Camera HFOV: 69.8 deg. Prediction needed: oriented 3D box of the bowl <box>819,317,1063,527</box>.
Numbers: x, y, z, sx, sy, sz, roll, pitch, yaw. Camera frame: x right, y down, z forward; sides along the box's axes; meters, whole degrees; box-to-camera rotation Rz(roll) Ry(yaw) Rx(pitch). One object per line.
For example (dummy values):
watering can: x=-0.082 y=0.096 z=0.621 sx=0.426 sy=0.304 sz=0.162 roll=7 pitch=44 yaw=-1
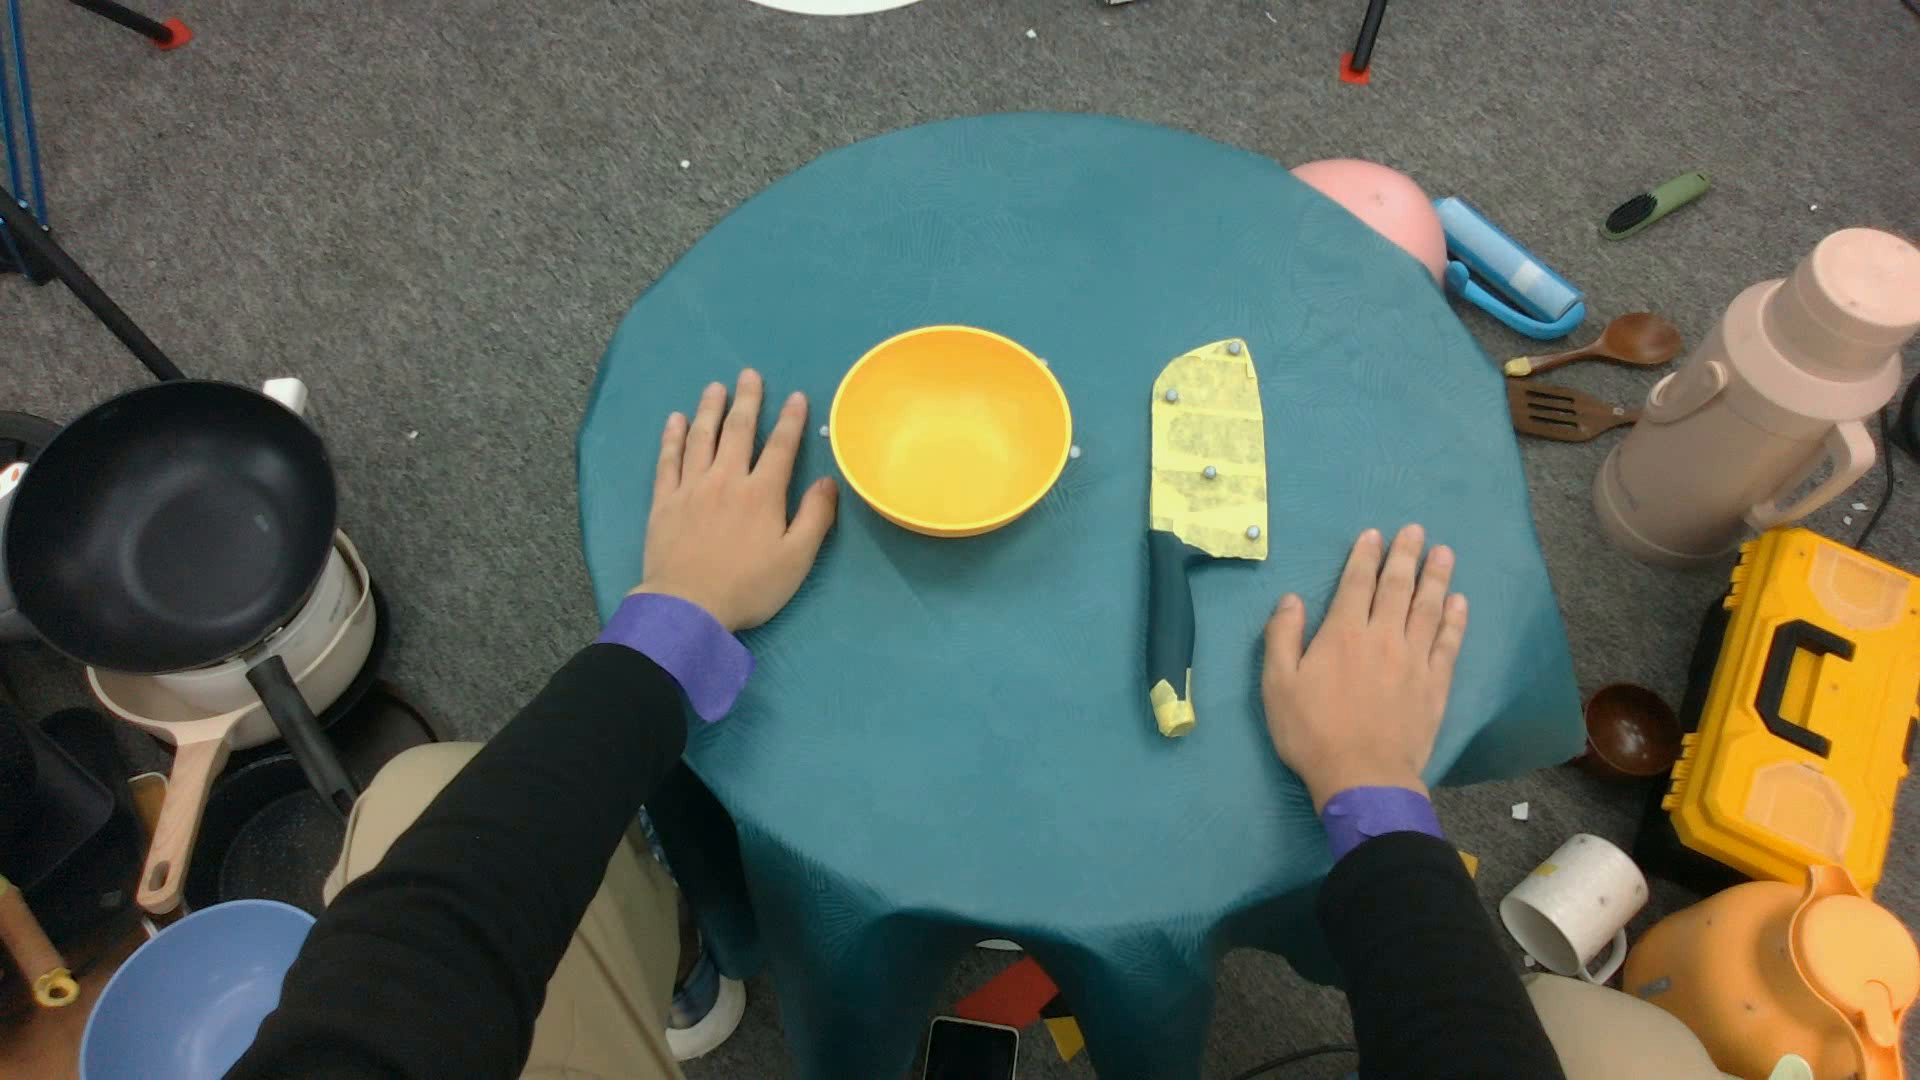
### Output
bowl: x=-0.011 y=-0.062 z=0.841 sx=0.145 sy=0.060 sz=0.146 roll=0 pitch=61 yaw=0

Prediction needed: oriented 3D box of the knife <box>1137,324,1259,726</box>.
knife: x=0.145 y=-0.020 z=0.850 sx=0.081 sy=0.027 sz=0.291 roll=7 pitch=61 yaw=3
